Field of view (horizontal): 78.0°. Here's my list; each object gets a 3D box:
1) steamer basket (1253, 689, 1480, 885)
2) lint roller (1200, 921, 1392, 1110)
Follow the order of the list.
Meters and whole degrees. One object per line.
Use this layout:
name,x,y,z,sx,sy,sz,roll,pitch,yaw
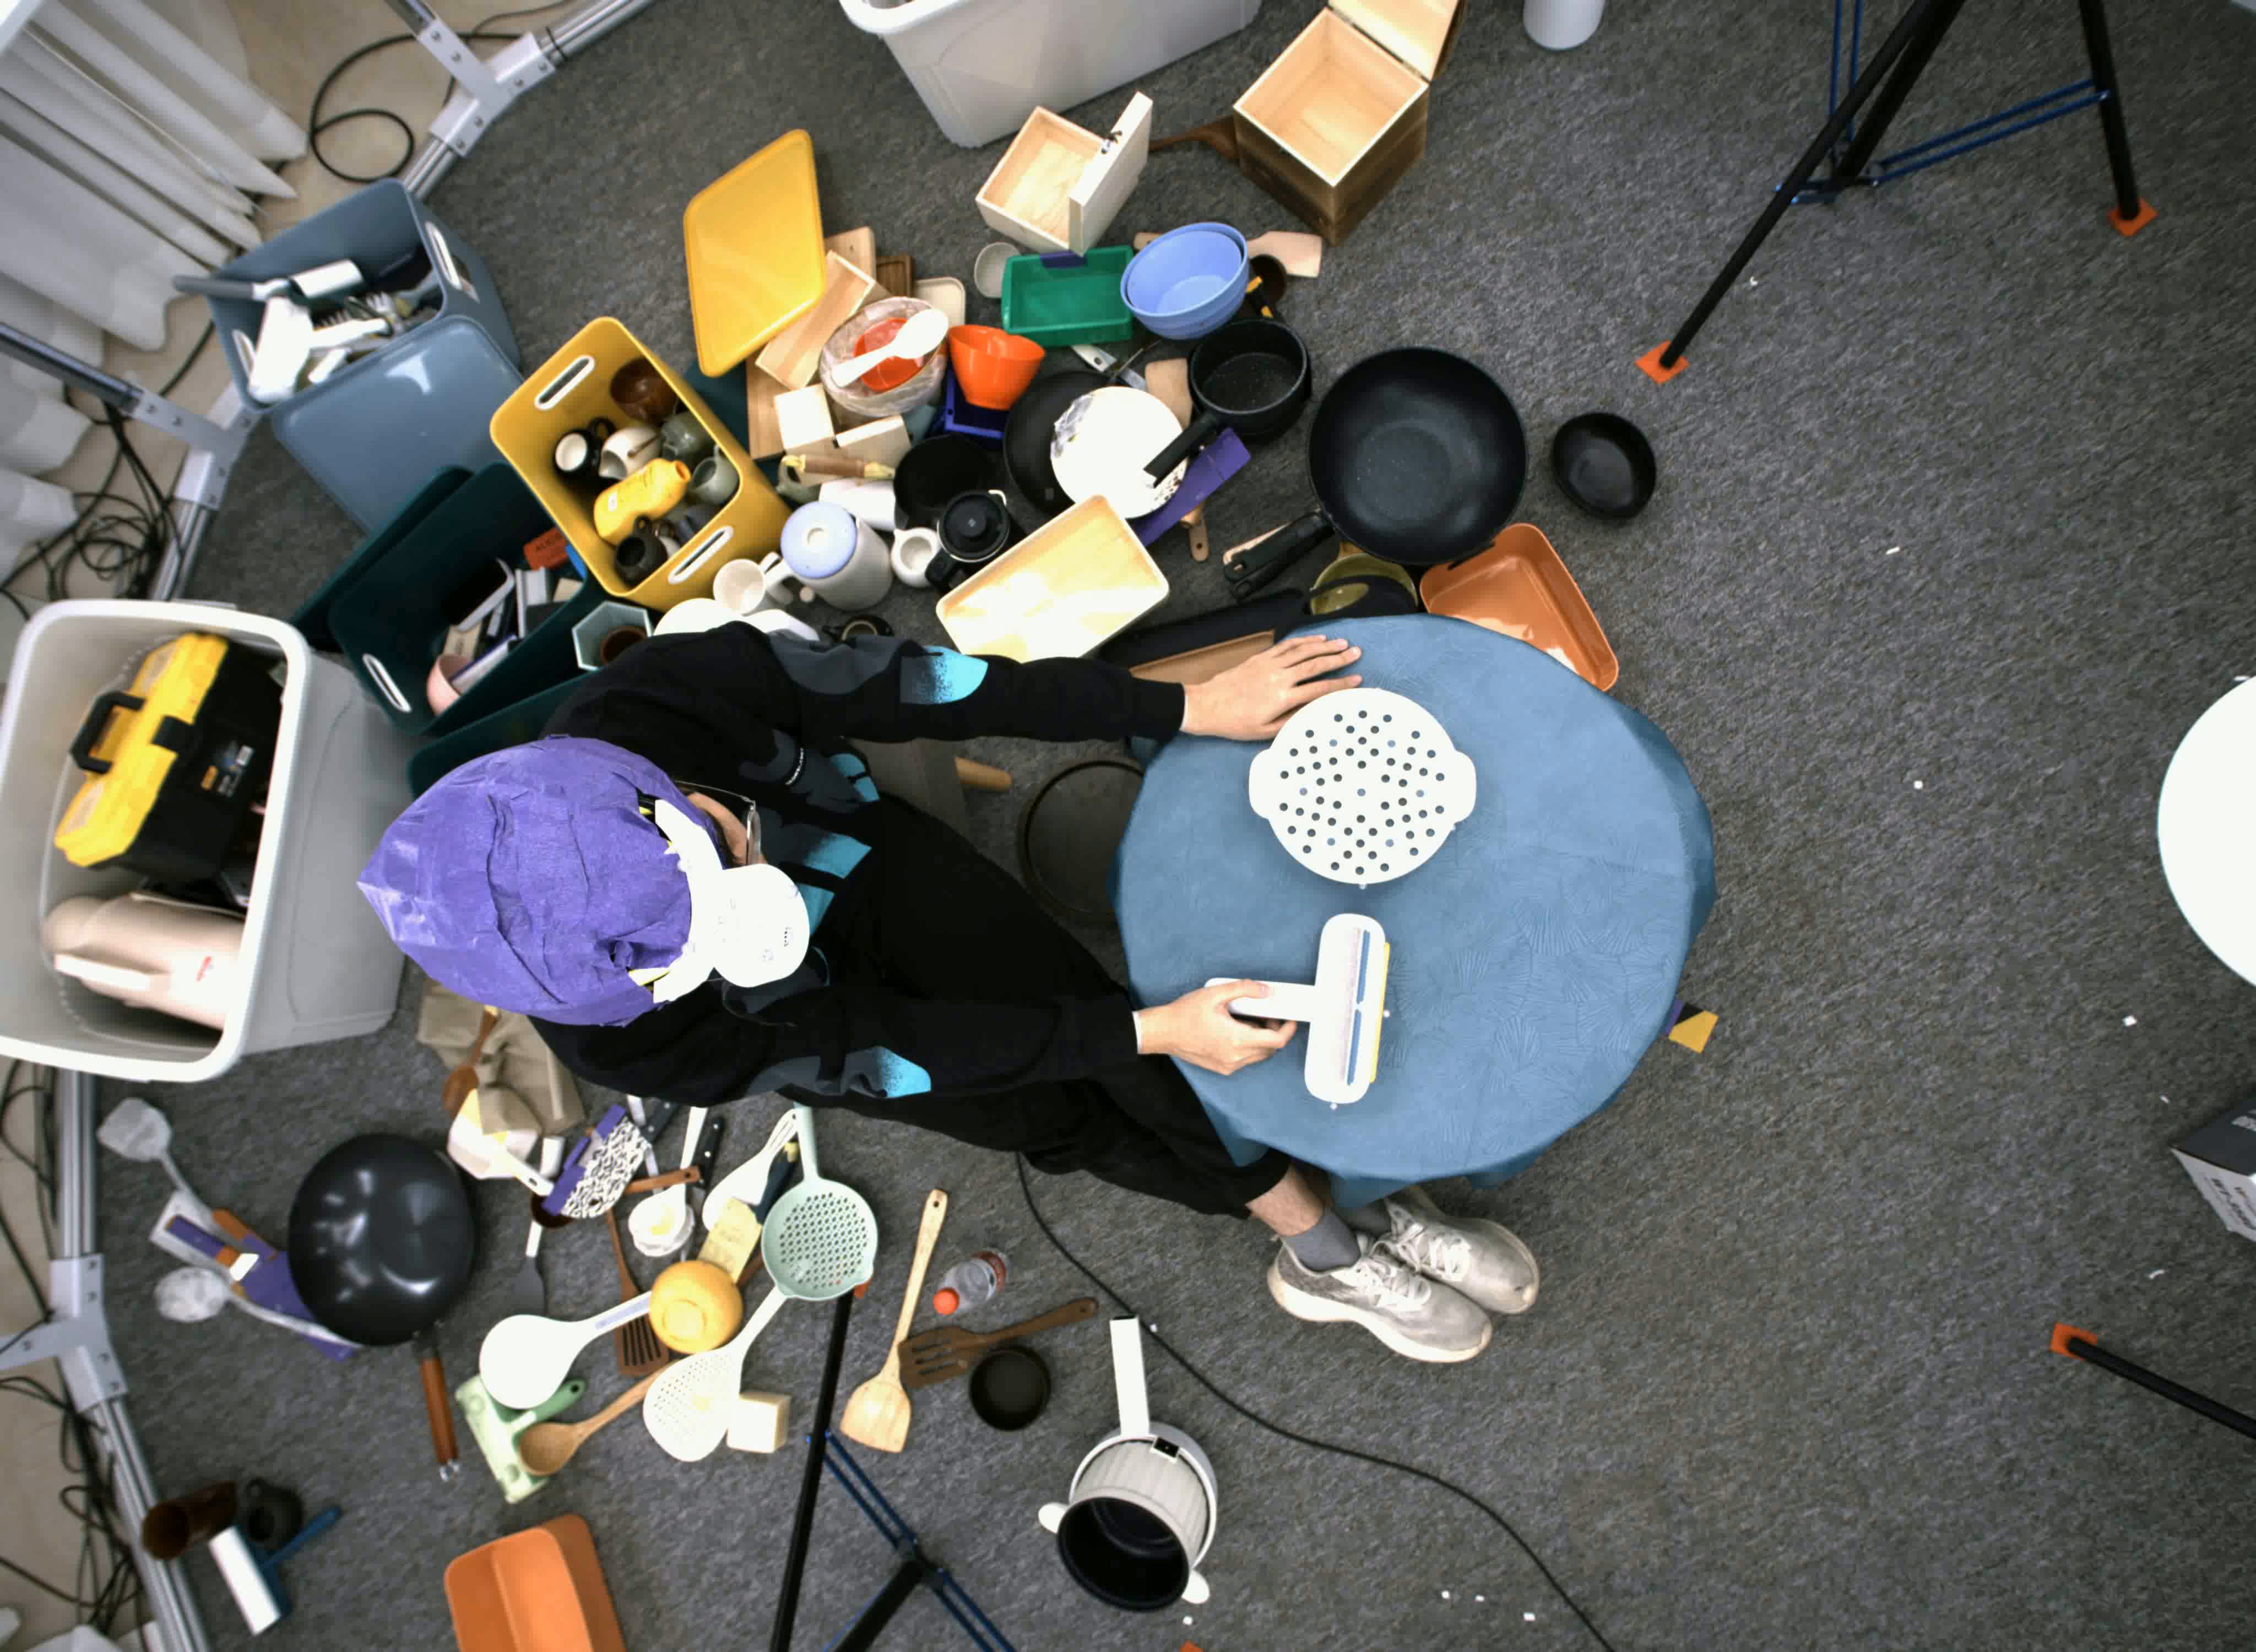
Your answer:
steamer basket,0.248,-0.040,1.434,0.231,0.069,0.201,2,86,13
lint roller,0.166,0.184,1.435,0.193,0.074,0.191,10,83,13
